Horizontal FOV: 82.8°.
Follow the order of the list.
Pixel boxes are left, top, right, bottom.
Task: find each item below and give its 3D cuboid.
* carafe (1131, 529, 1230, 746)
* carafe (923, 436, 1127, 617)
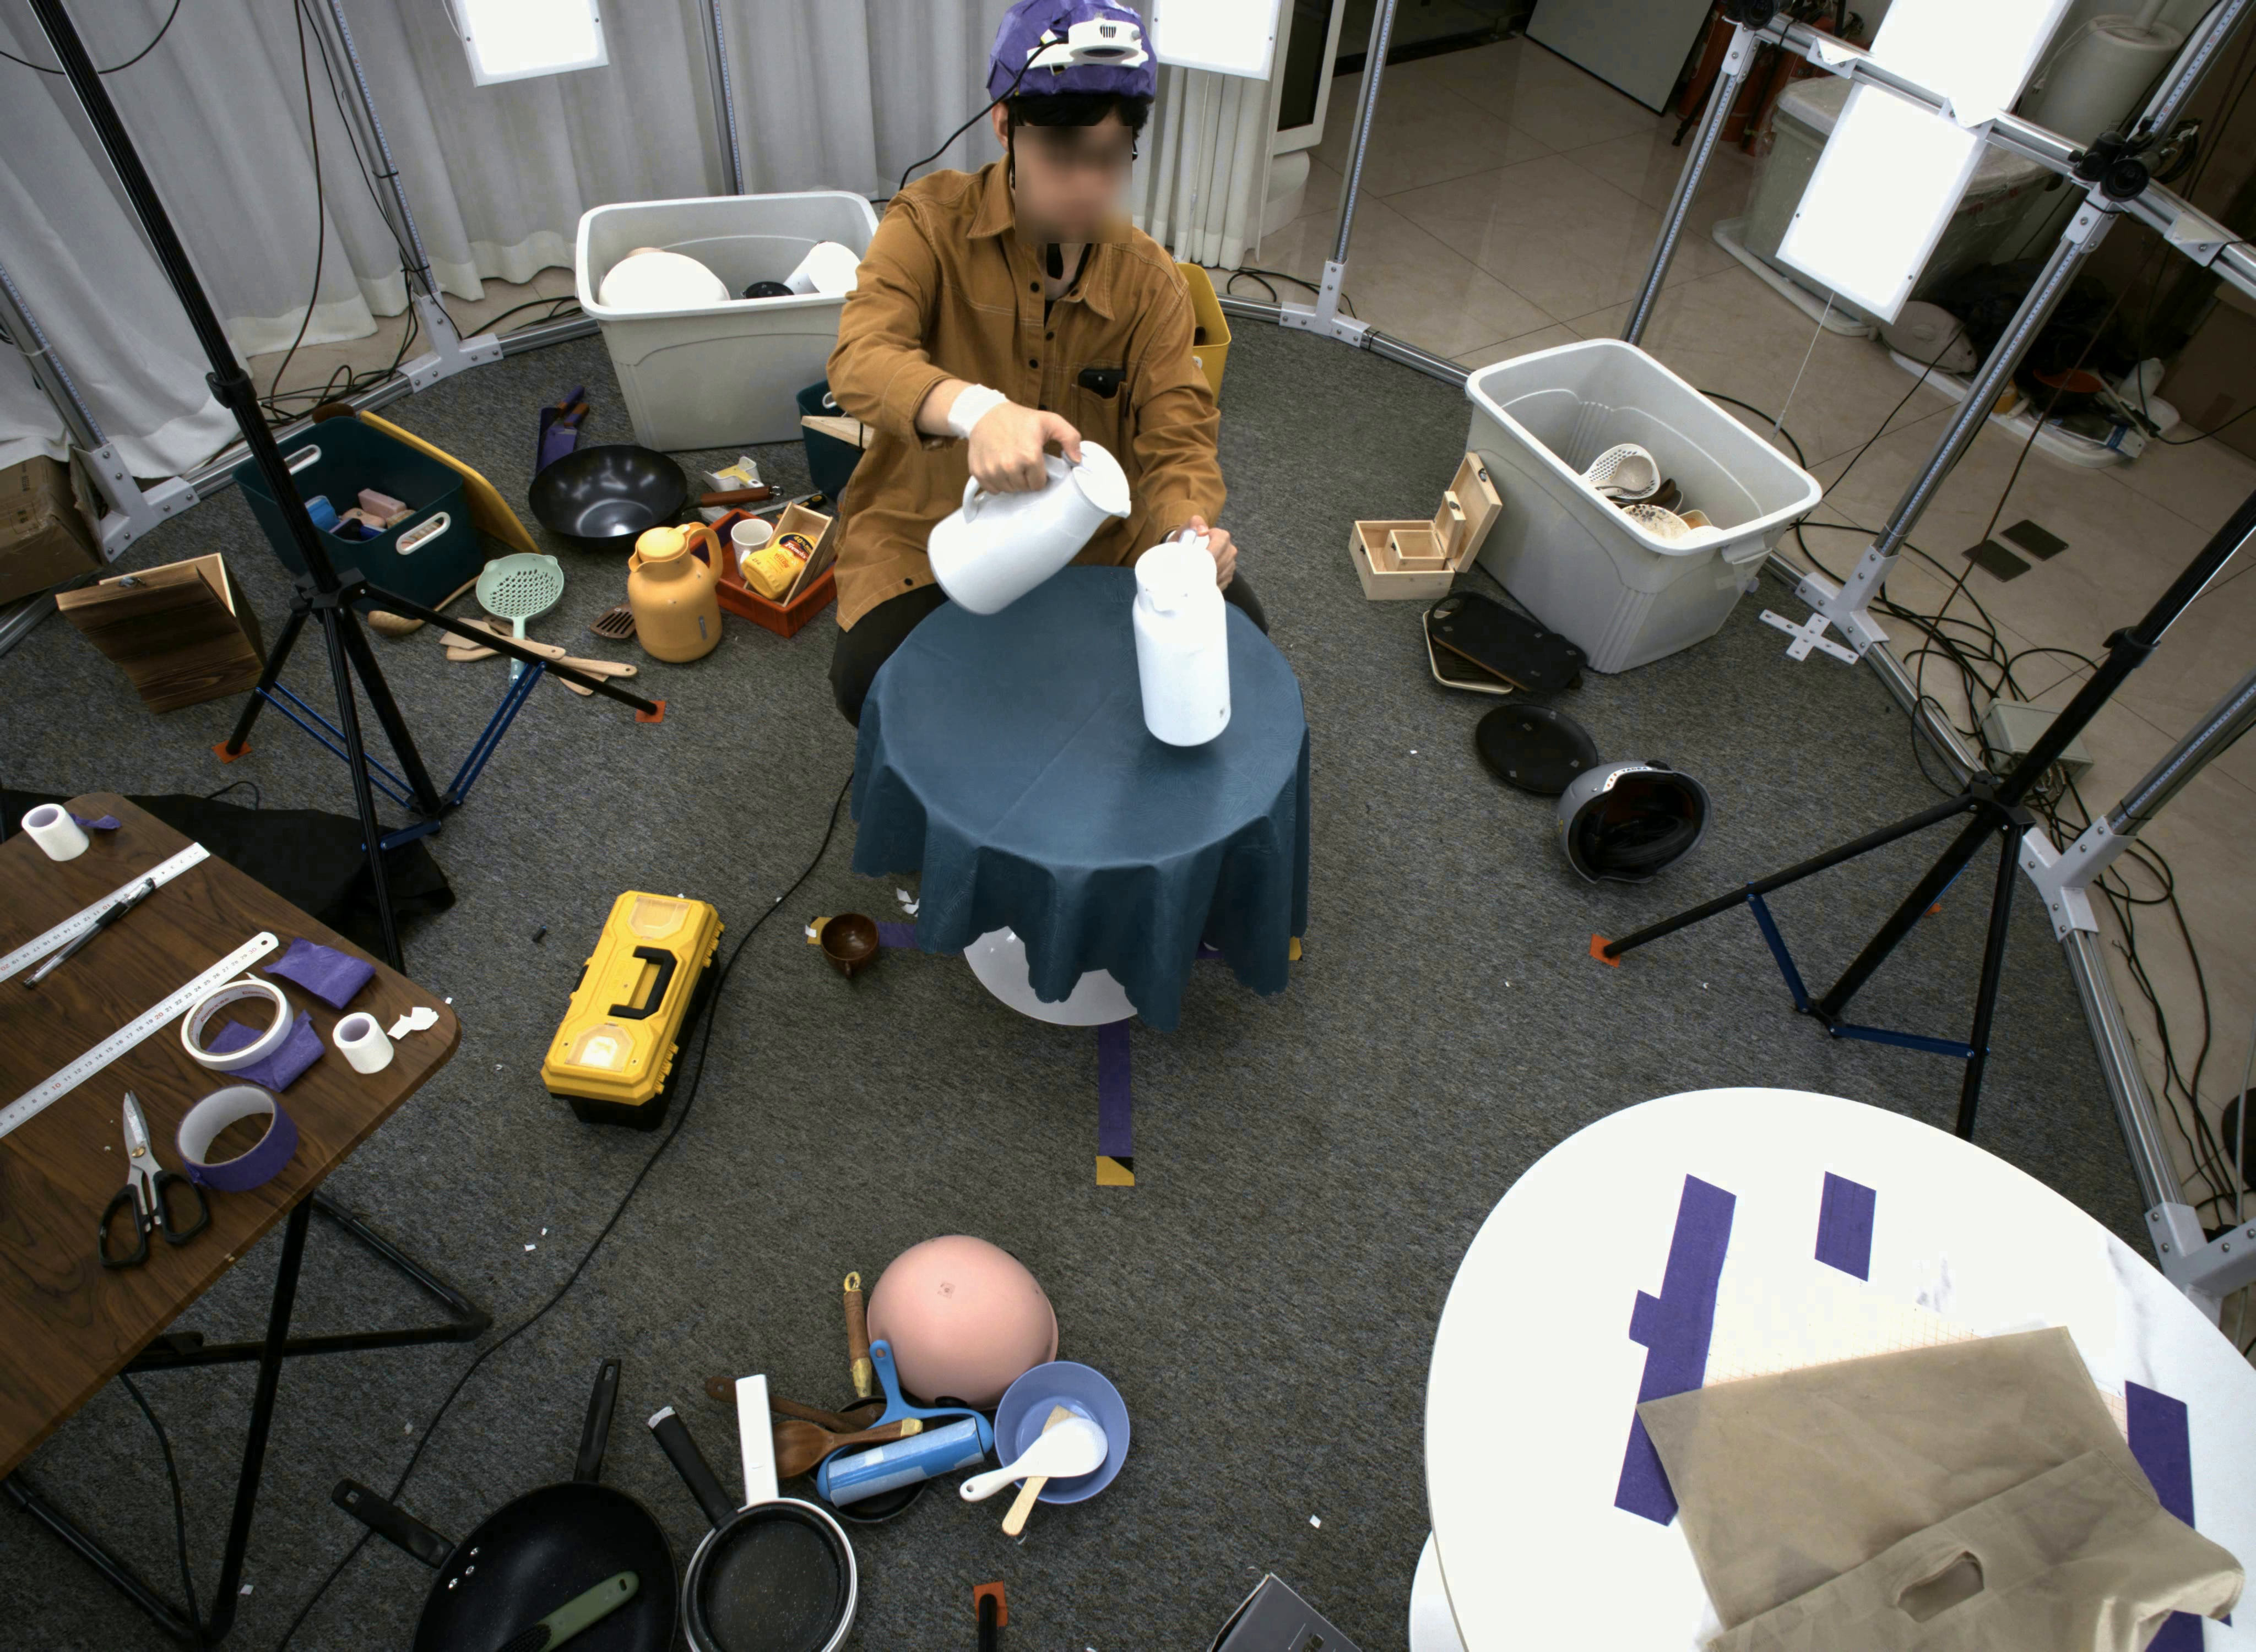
[{"bbox_3d":[0.071,-0.244,1.658,0.124,0.262,0.176,8,51,17],"label":"carafe"},{"bbox_3d":[-0.131,-0.365,1.519,0.165,0.247,0.135,24,54,-37],"label":"carafe"}]
